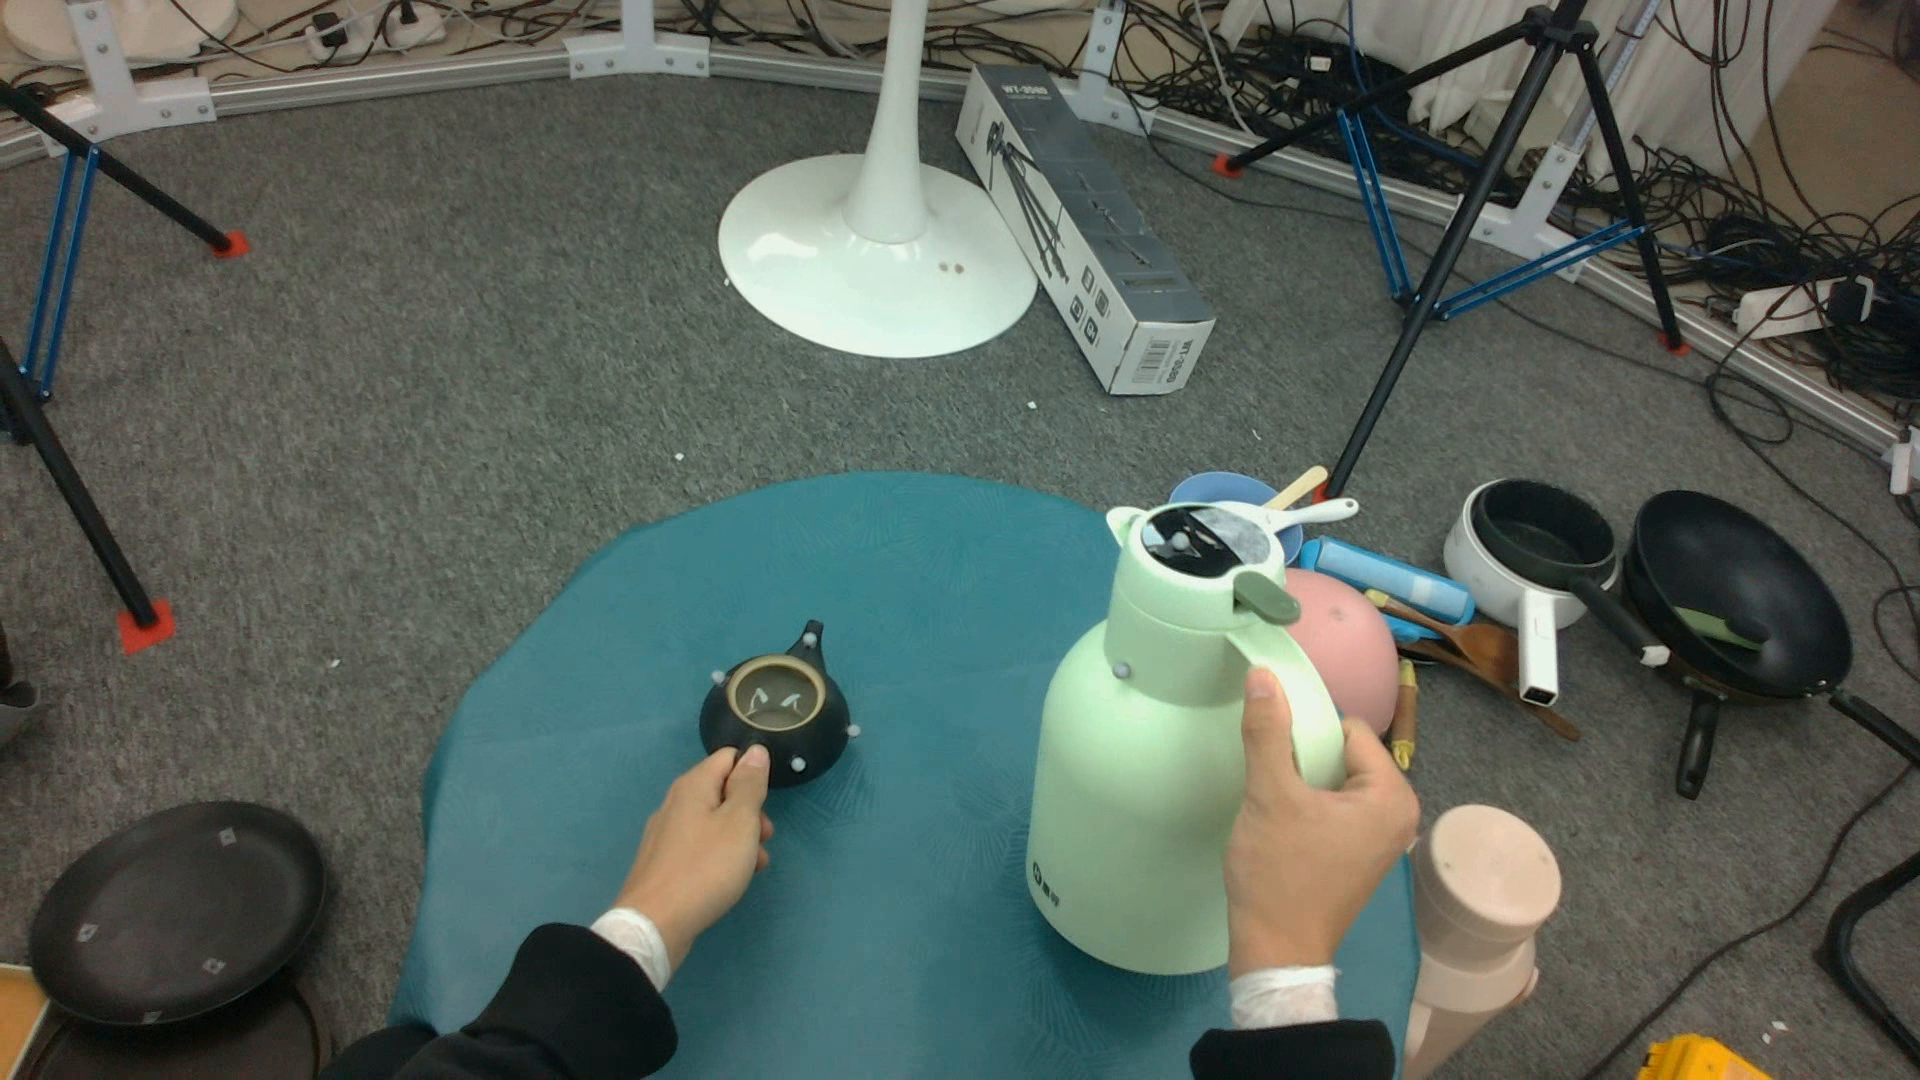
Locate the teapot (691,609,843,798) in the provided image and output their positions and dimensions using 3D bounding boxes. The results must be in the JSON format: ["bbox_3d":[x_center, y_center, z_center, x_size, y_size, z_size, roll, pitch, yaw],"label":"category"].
[{"bbox_3d":[-0.116,0.102,0.828,0.091,0.053,0.134,15,43,7],"label":"teapot"}]

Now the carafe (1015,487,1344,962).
[{"bbox_3d":[0.117,0.103,0.728,0.145,0.255,0.187,-17,43,-27],"label":"carafe"}]
